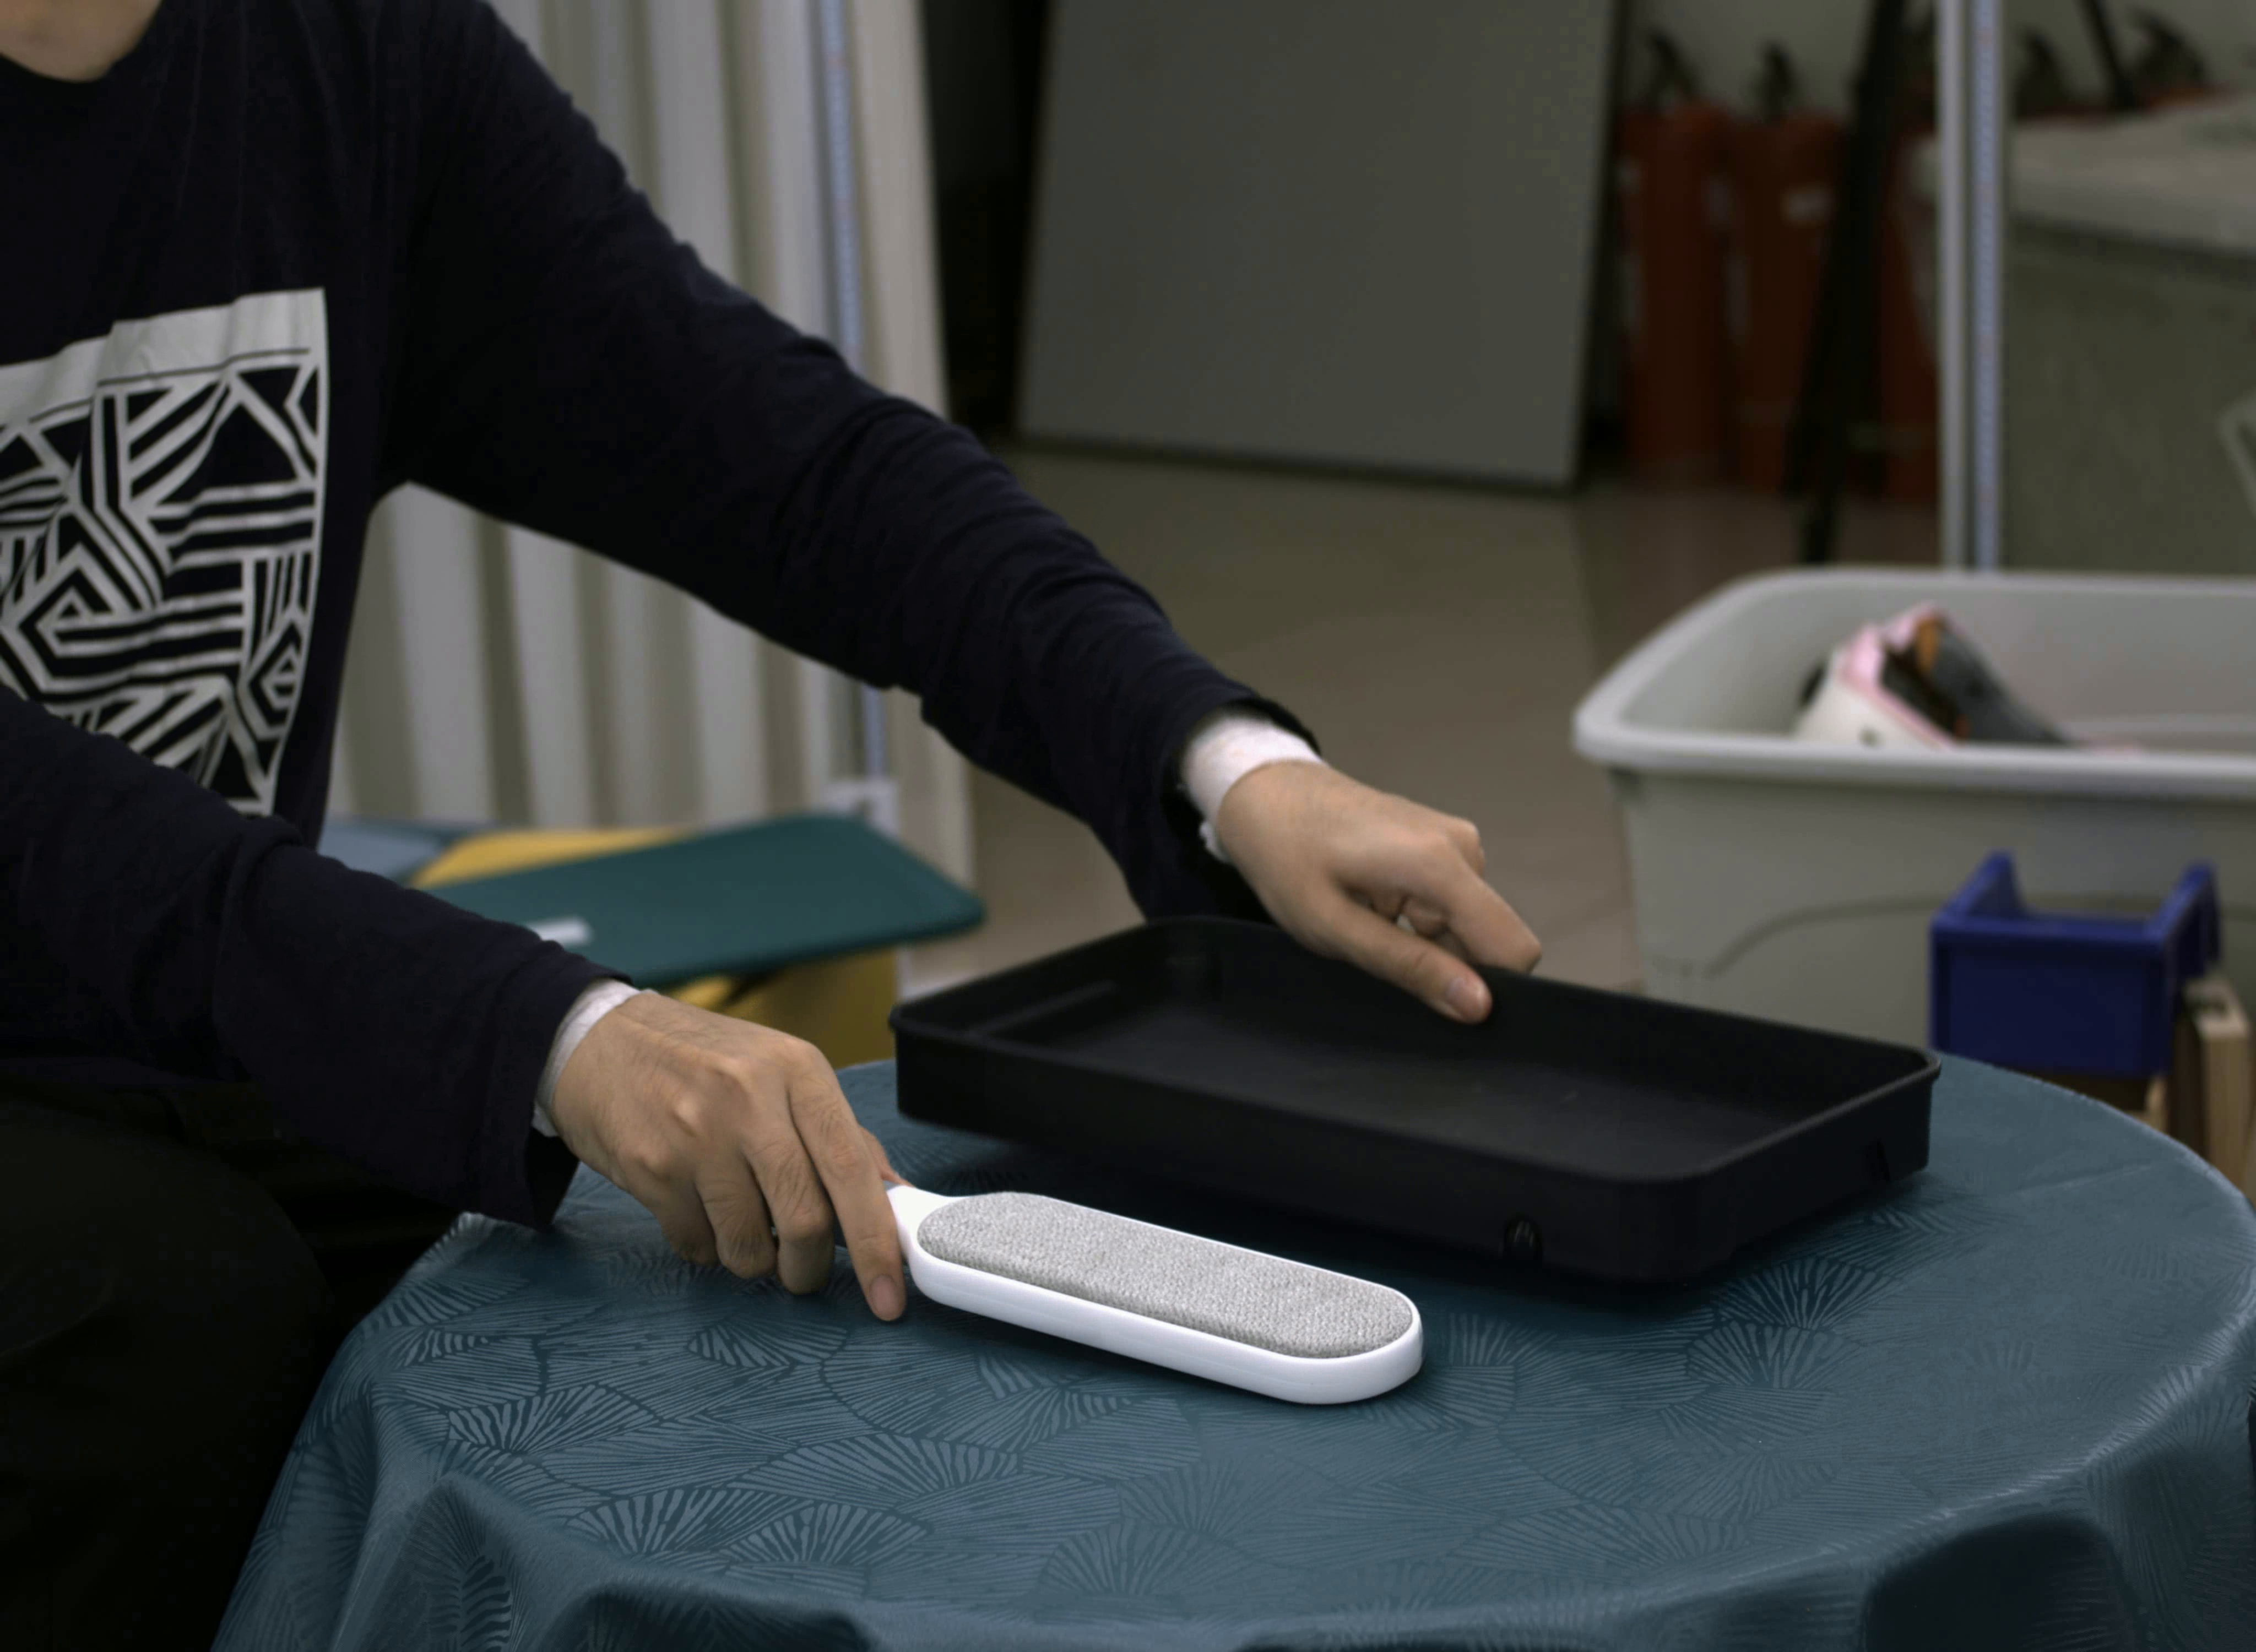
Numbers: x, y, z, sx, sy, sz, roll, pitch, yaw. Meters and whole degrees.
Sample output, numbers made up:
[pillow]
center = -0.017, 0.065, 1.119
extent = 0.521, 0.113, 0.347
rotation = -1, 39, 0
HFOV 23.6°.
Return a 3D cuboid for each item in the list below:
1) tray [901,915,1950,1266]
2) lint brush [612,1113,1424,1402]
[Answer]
[tray]
center = 0.094, 0.082, 1.758
extent = 0.320, 0.037, 0.180
rotation = 10, 15, 39
[lint brush]
center = -0.040, 0.127, 1.656
extent = 0.311, 0.021, 0.059
rotation = 12, 33, 36
